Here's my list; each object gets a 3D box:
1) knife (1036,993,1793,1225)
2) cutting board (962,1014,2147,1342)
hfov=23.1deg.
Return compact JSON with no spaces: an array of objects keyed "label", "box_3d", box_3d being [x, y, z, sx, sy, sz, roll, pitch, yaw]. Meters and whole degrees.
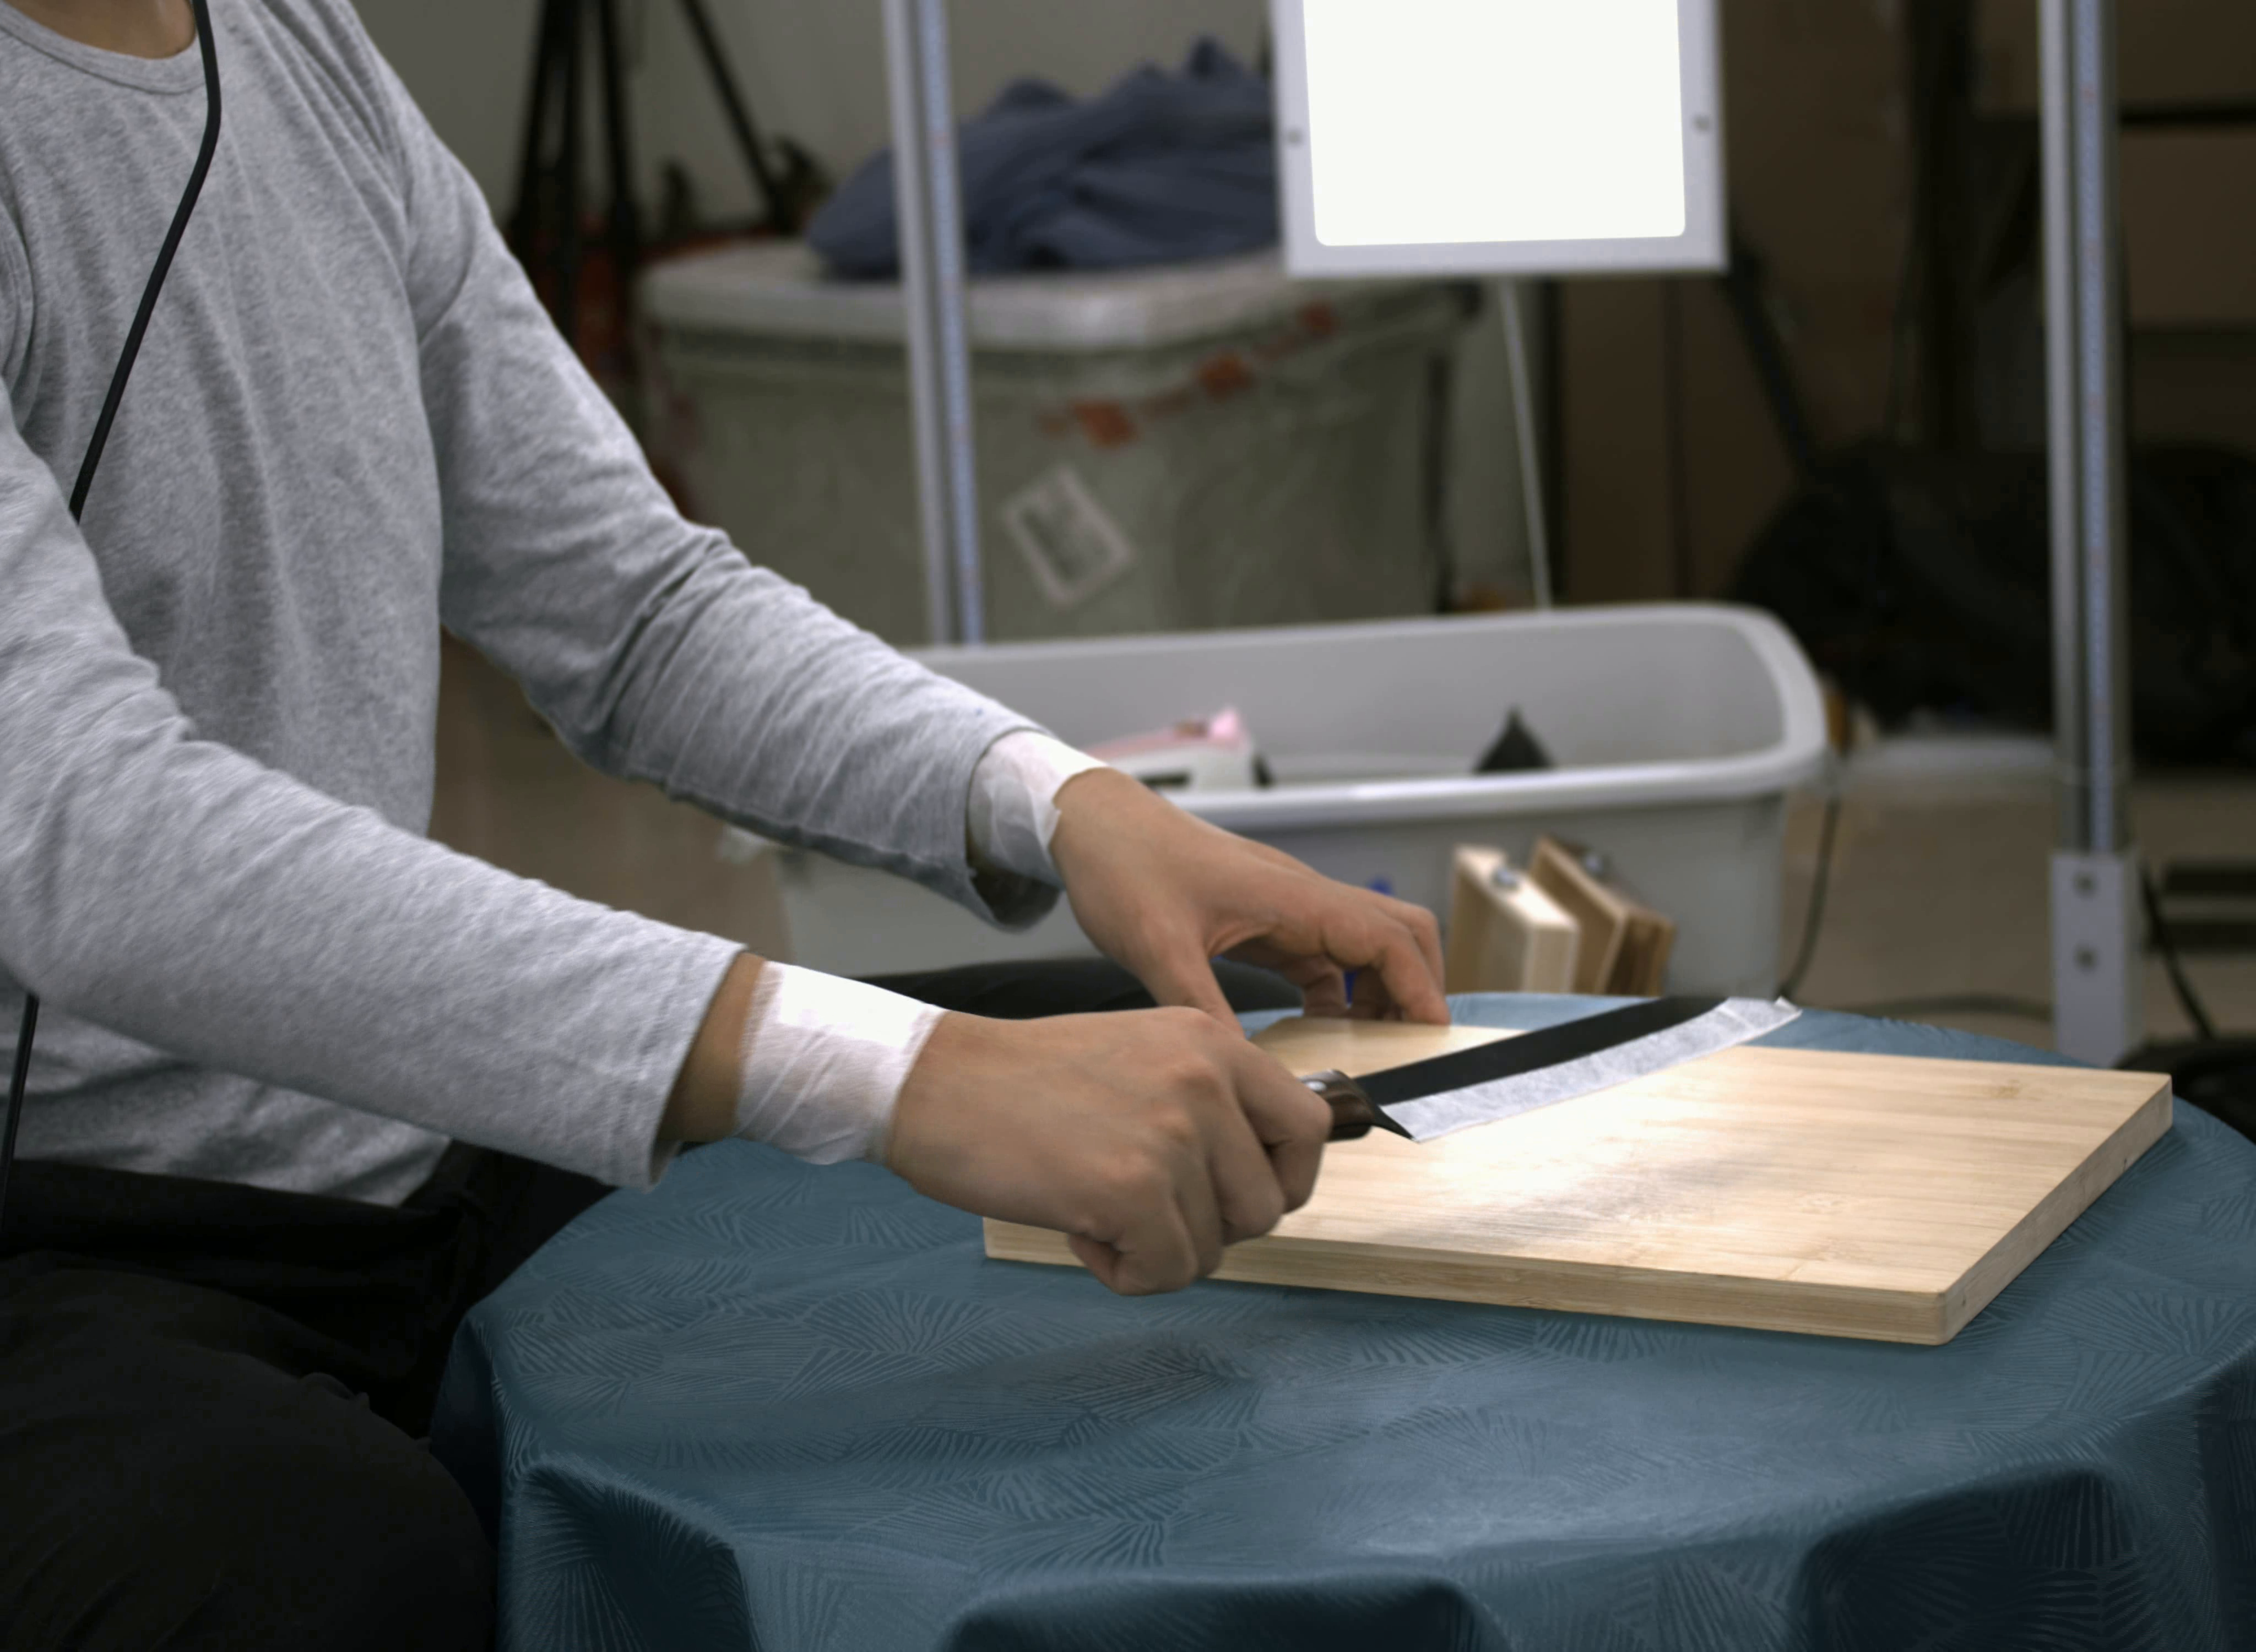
[{"label":"knife","box_3d":[0.098,0.087,1.757,0.283,0.020,0.051,-12,31,-28]},{"label":"cutting board","box_3d":[0.150,0.115,1.862,0.355,0.023,0.245,2,15,29]}]
